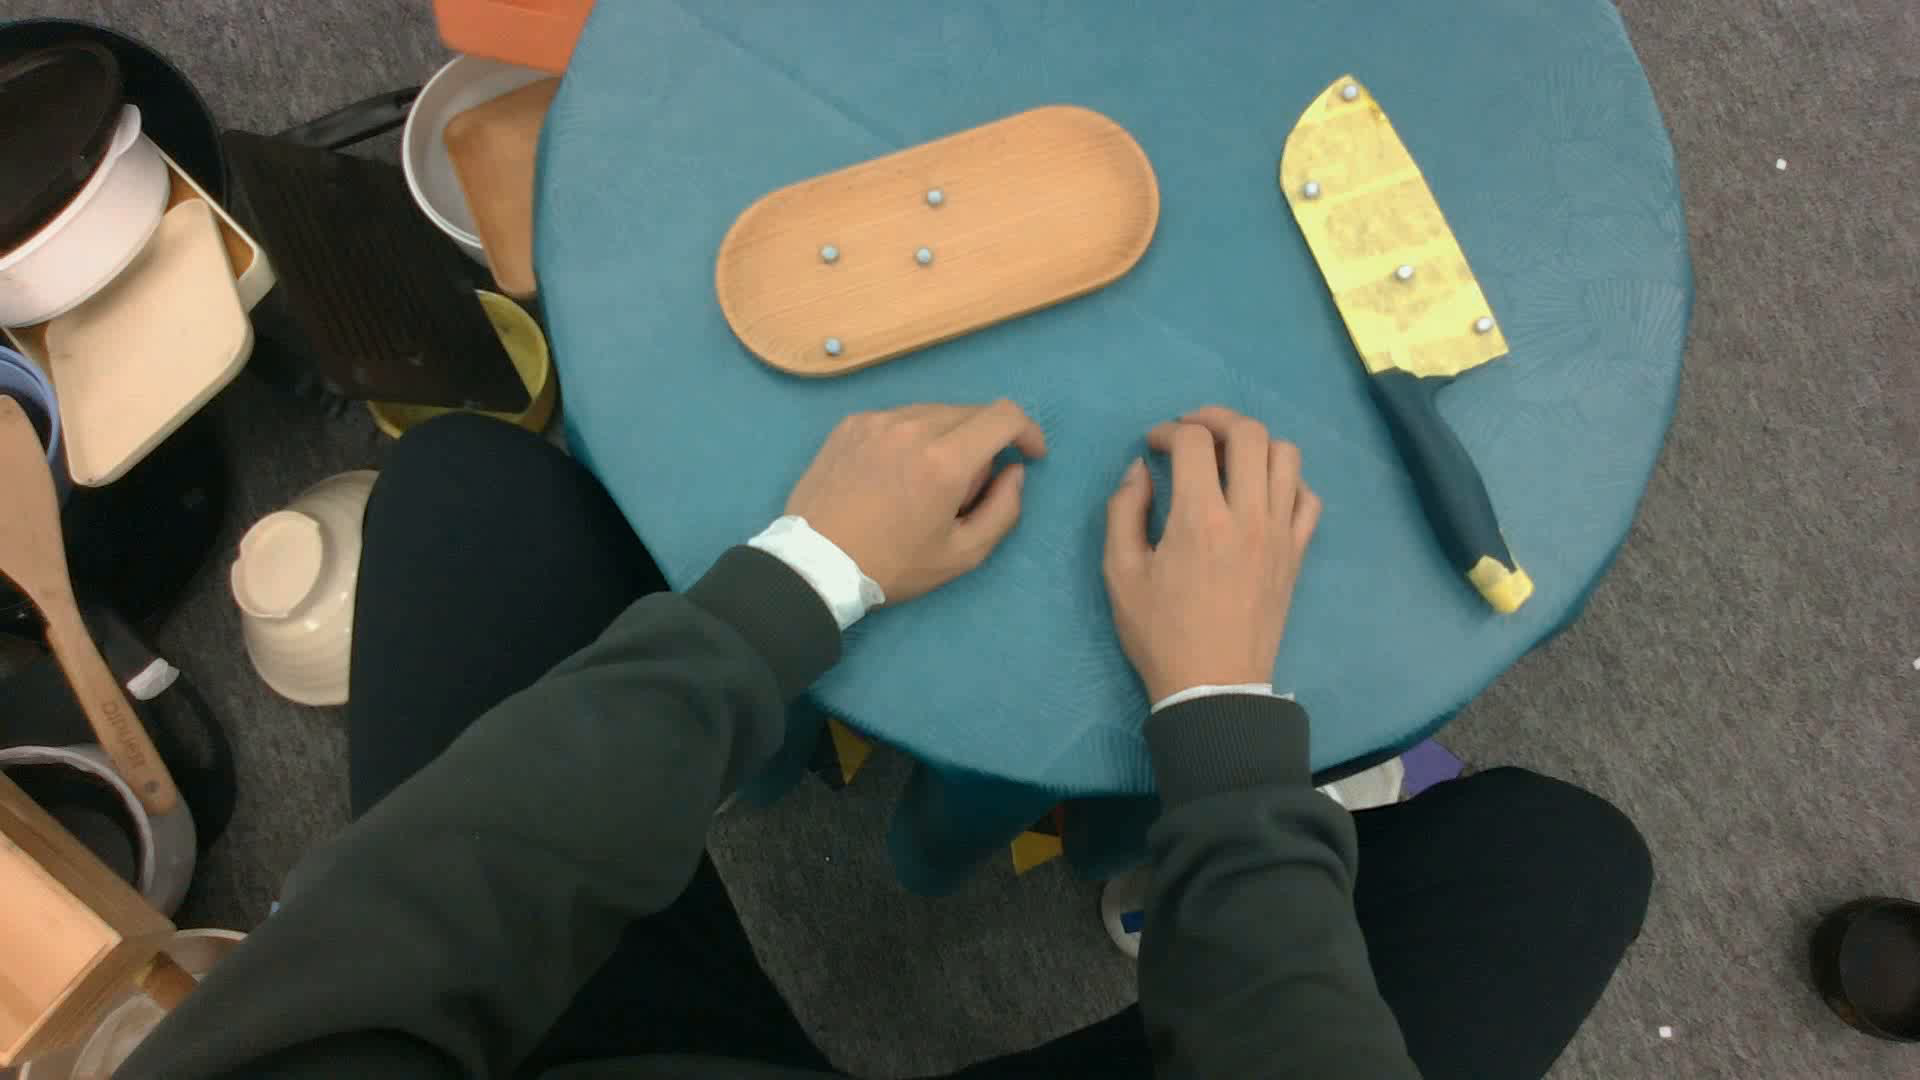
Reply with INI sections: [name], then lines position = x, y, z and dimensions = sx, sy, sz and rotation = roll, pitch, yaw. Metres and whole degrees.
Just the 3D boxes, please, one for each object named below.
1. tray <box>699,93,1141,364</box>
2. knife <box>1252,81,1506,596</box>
[tray]
position = -0.019, -0.159, 0.701
dimensions = 0.231, 0.020, 0.102
rotation = -20, 82, -9
[knife]
position = 0.224, -0.111, 0.709
dimensions = 0.081, 0.027, 0.290
rotation = -18, 79, -6
